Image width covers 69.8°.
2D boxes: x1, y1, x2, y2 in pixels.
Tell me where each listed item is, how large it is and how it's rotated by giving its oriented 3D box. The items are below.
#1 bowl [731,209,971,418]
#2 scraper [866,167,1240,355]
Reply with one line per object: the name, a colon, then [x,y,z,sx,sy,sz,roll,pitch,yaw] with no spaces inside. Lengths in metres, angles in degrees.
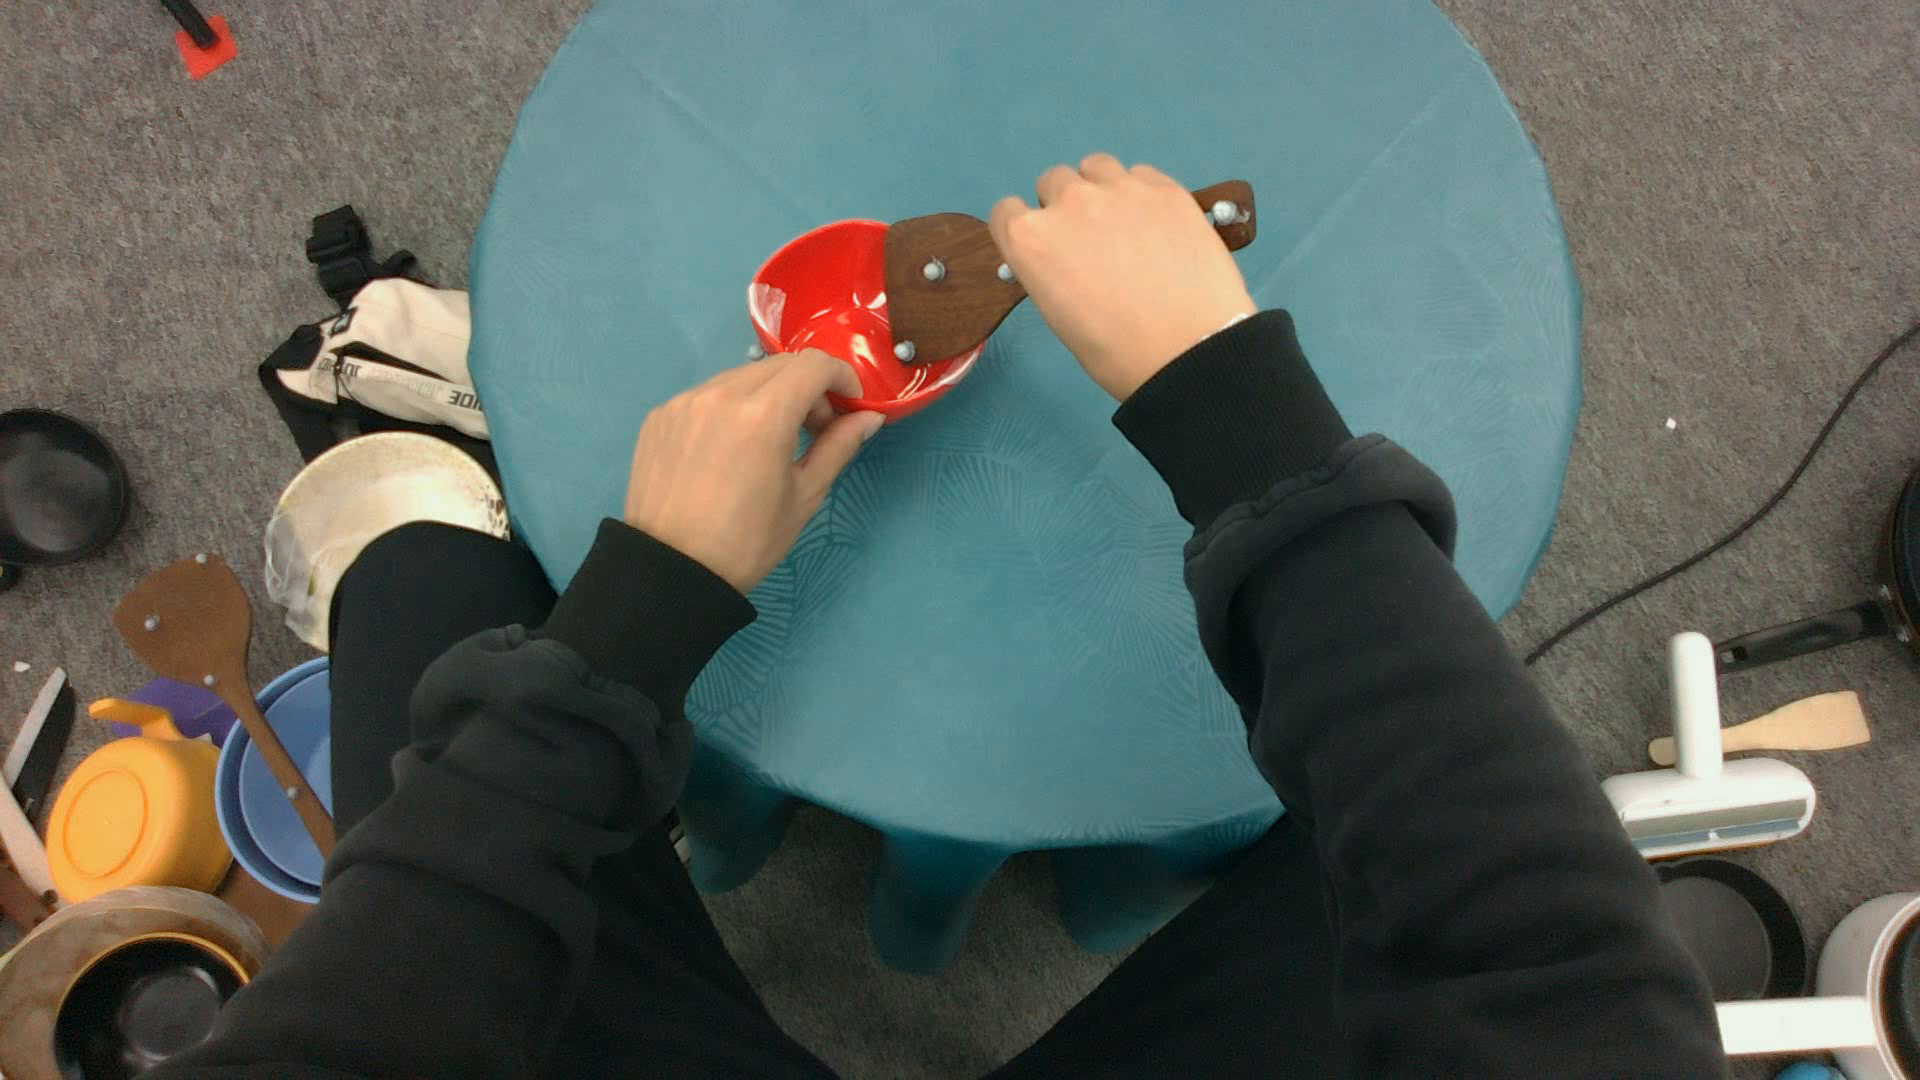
bowl: [-0.058,-0.105,0.689,0.119,0.051,0.119,9,55,-12]
scraper: [0.034,-0.133,0.625,0.011,0.210,0.076,-7,93,-48]
